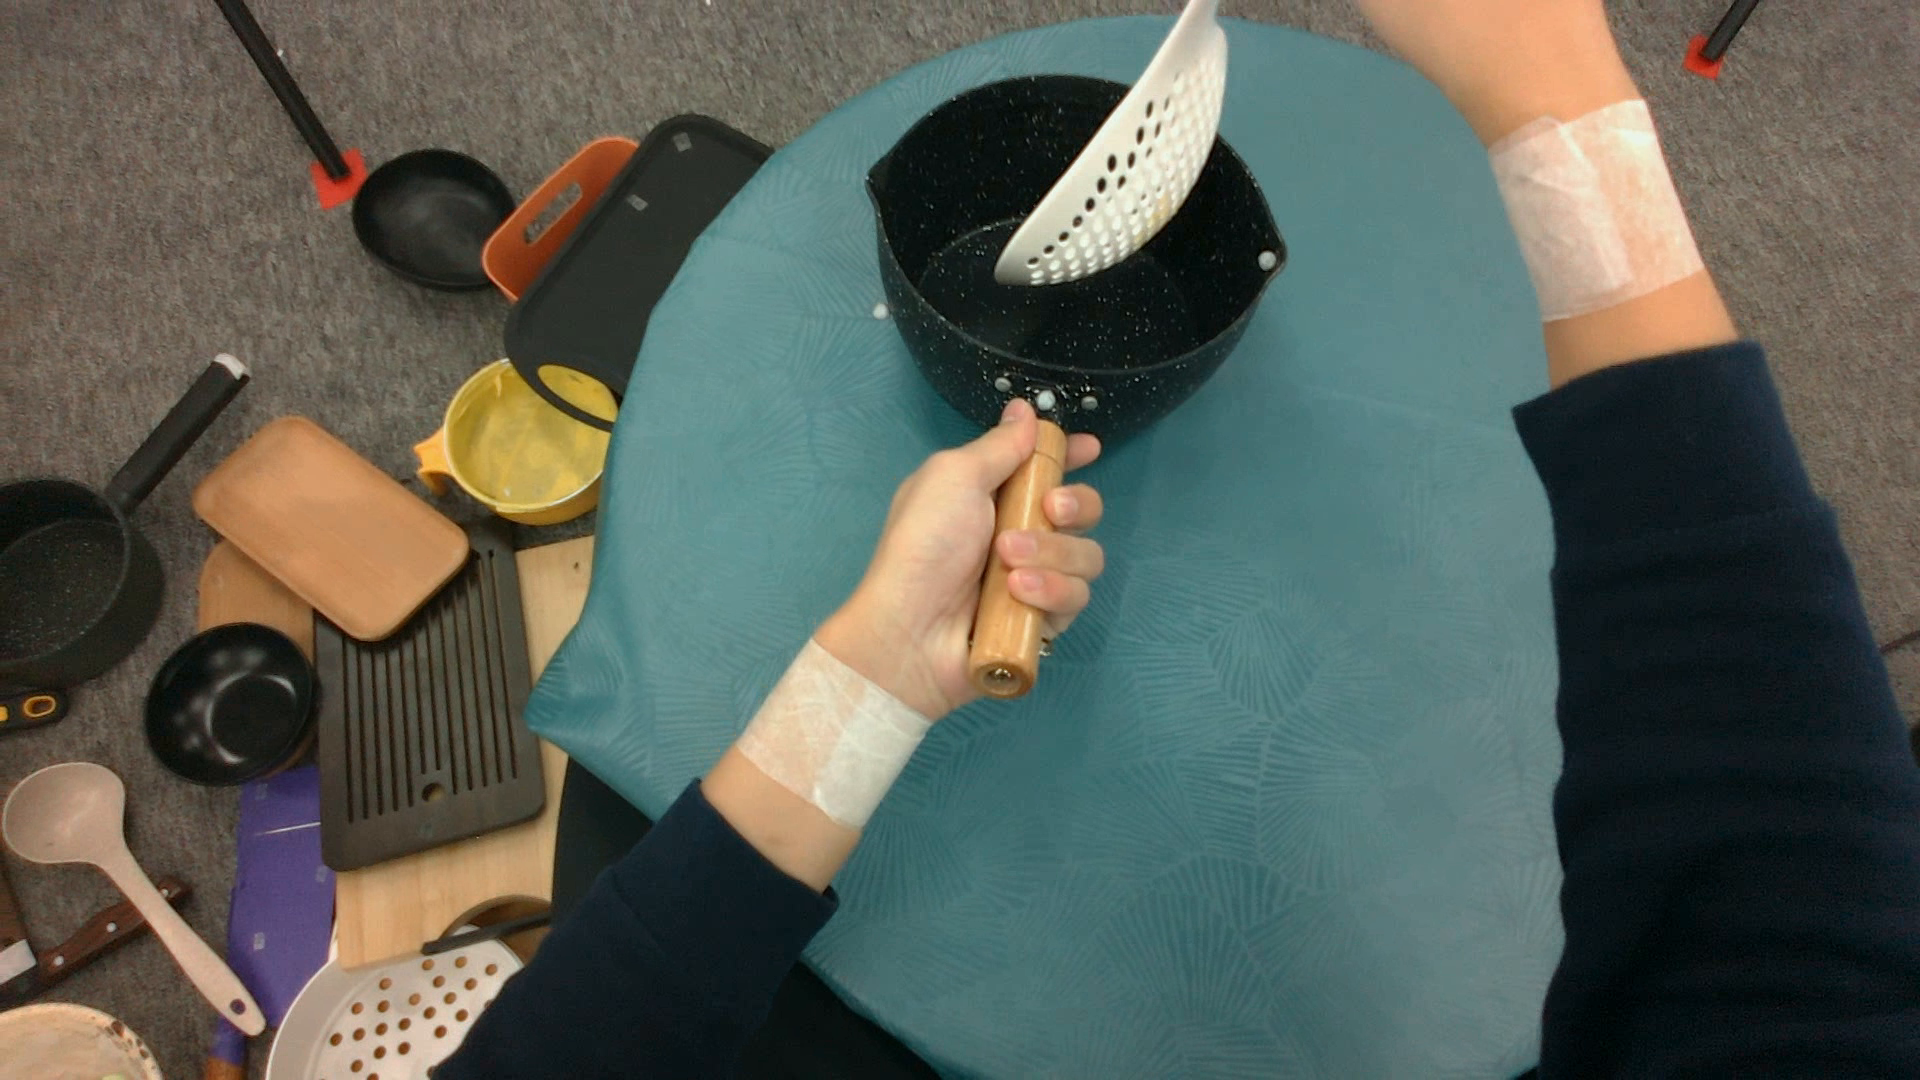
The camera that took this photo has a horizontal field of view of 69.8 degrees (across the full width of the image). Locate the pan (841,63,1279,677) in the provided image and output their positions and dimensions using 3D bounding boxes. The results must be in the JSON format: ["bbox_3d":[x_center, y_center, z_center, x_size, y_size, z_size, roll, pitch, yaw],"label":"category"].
[{"bbox_3d":[0.034,-0.074,0.623,0.207,0.107,0.344,10,58,-1],"label":"pan"}]

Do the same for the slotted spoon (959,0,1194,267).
[{"bbox_3d":[0.085,-0.202,0.541,0.050,0.346,0.137,45,69,6],"label":"slotted spoon"}]
